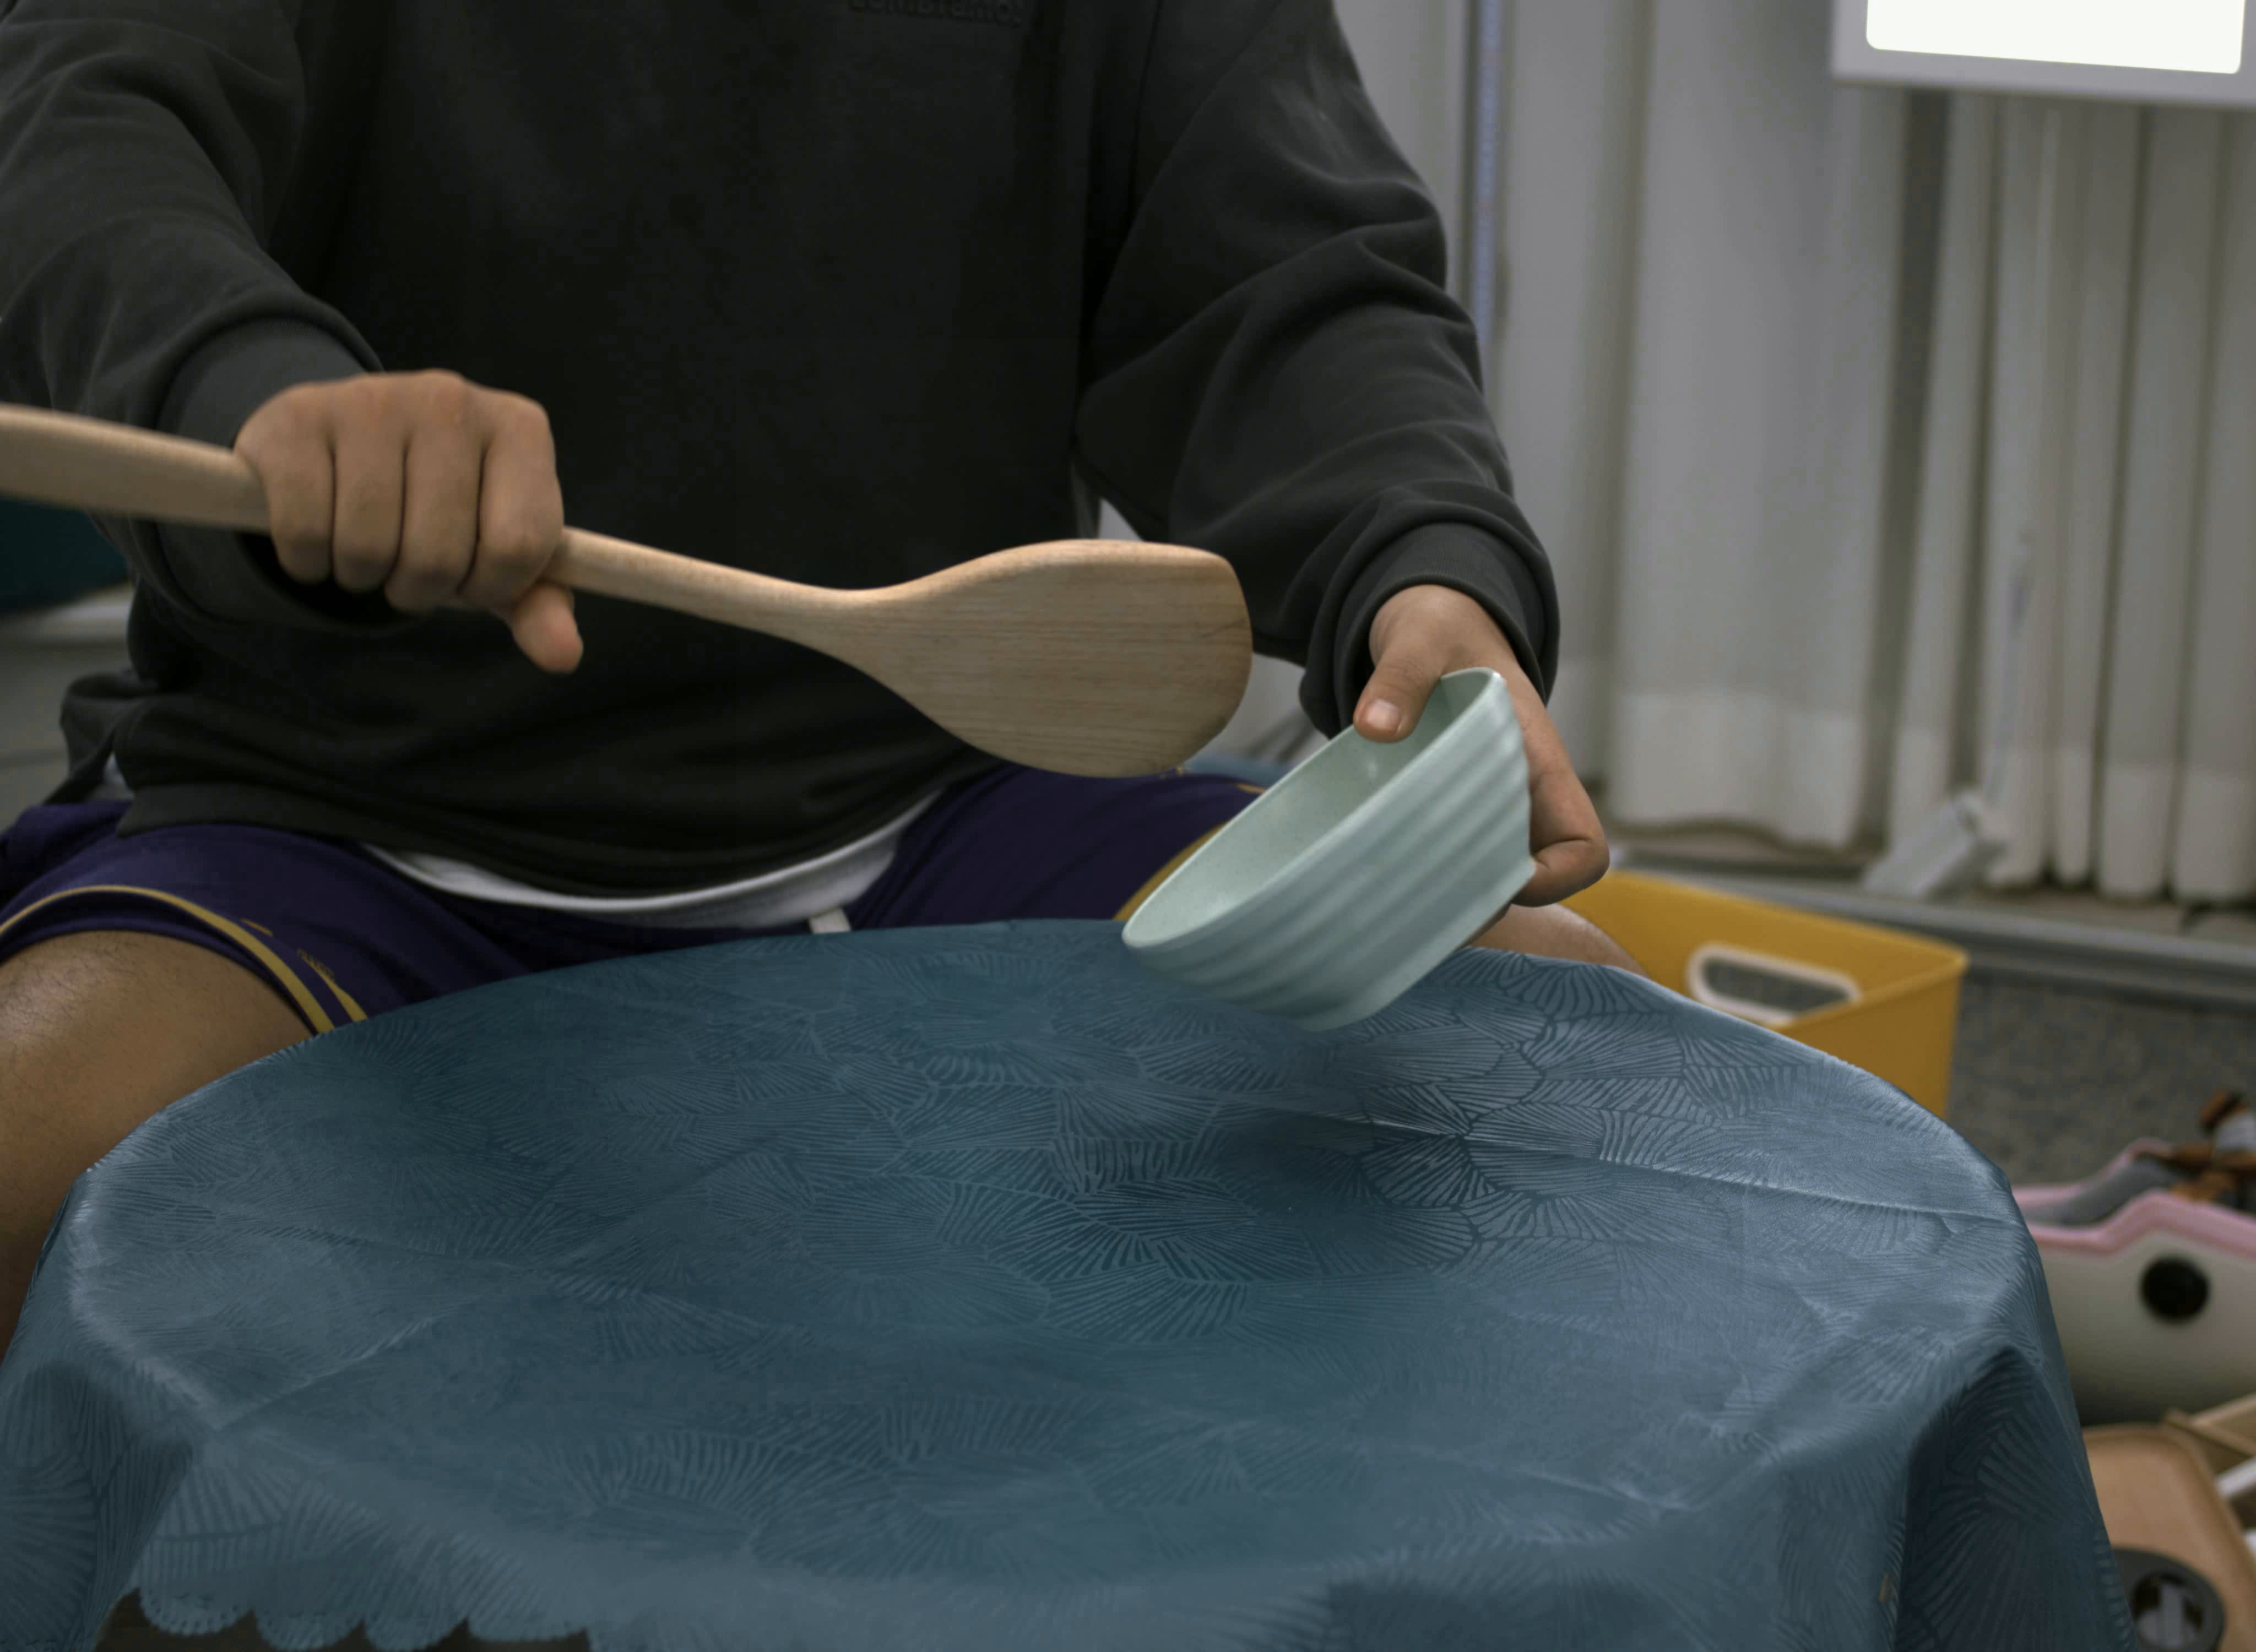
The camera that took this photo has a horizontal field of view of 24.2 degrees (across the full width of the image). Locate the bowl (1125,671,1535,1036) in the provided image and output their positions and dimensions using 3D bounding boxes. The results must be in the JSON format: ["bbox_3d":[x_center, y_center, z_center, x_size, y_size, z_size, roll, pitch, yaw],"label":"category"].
[{"bbox_3d":[0.073,0.017,1.642,0.151,0.059,0.151,-37,8,7],"label":"bowl"}]

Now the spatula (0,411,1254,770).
[{"bbox_3d":[-0.157,-0.080,1.495,0.389,0.097,0.018,11,44,1],"label":"spatula"}]
